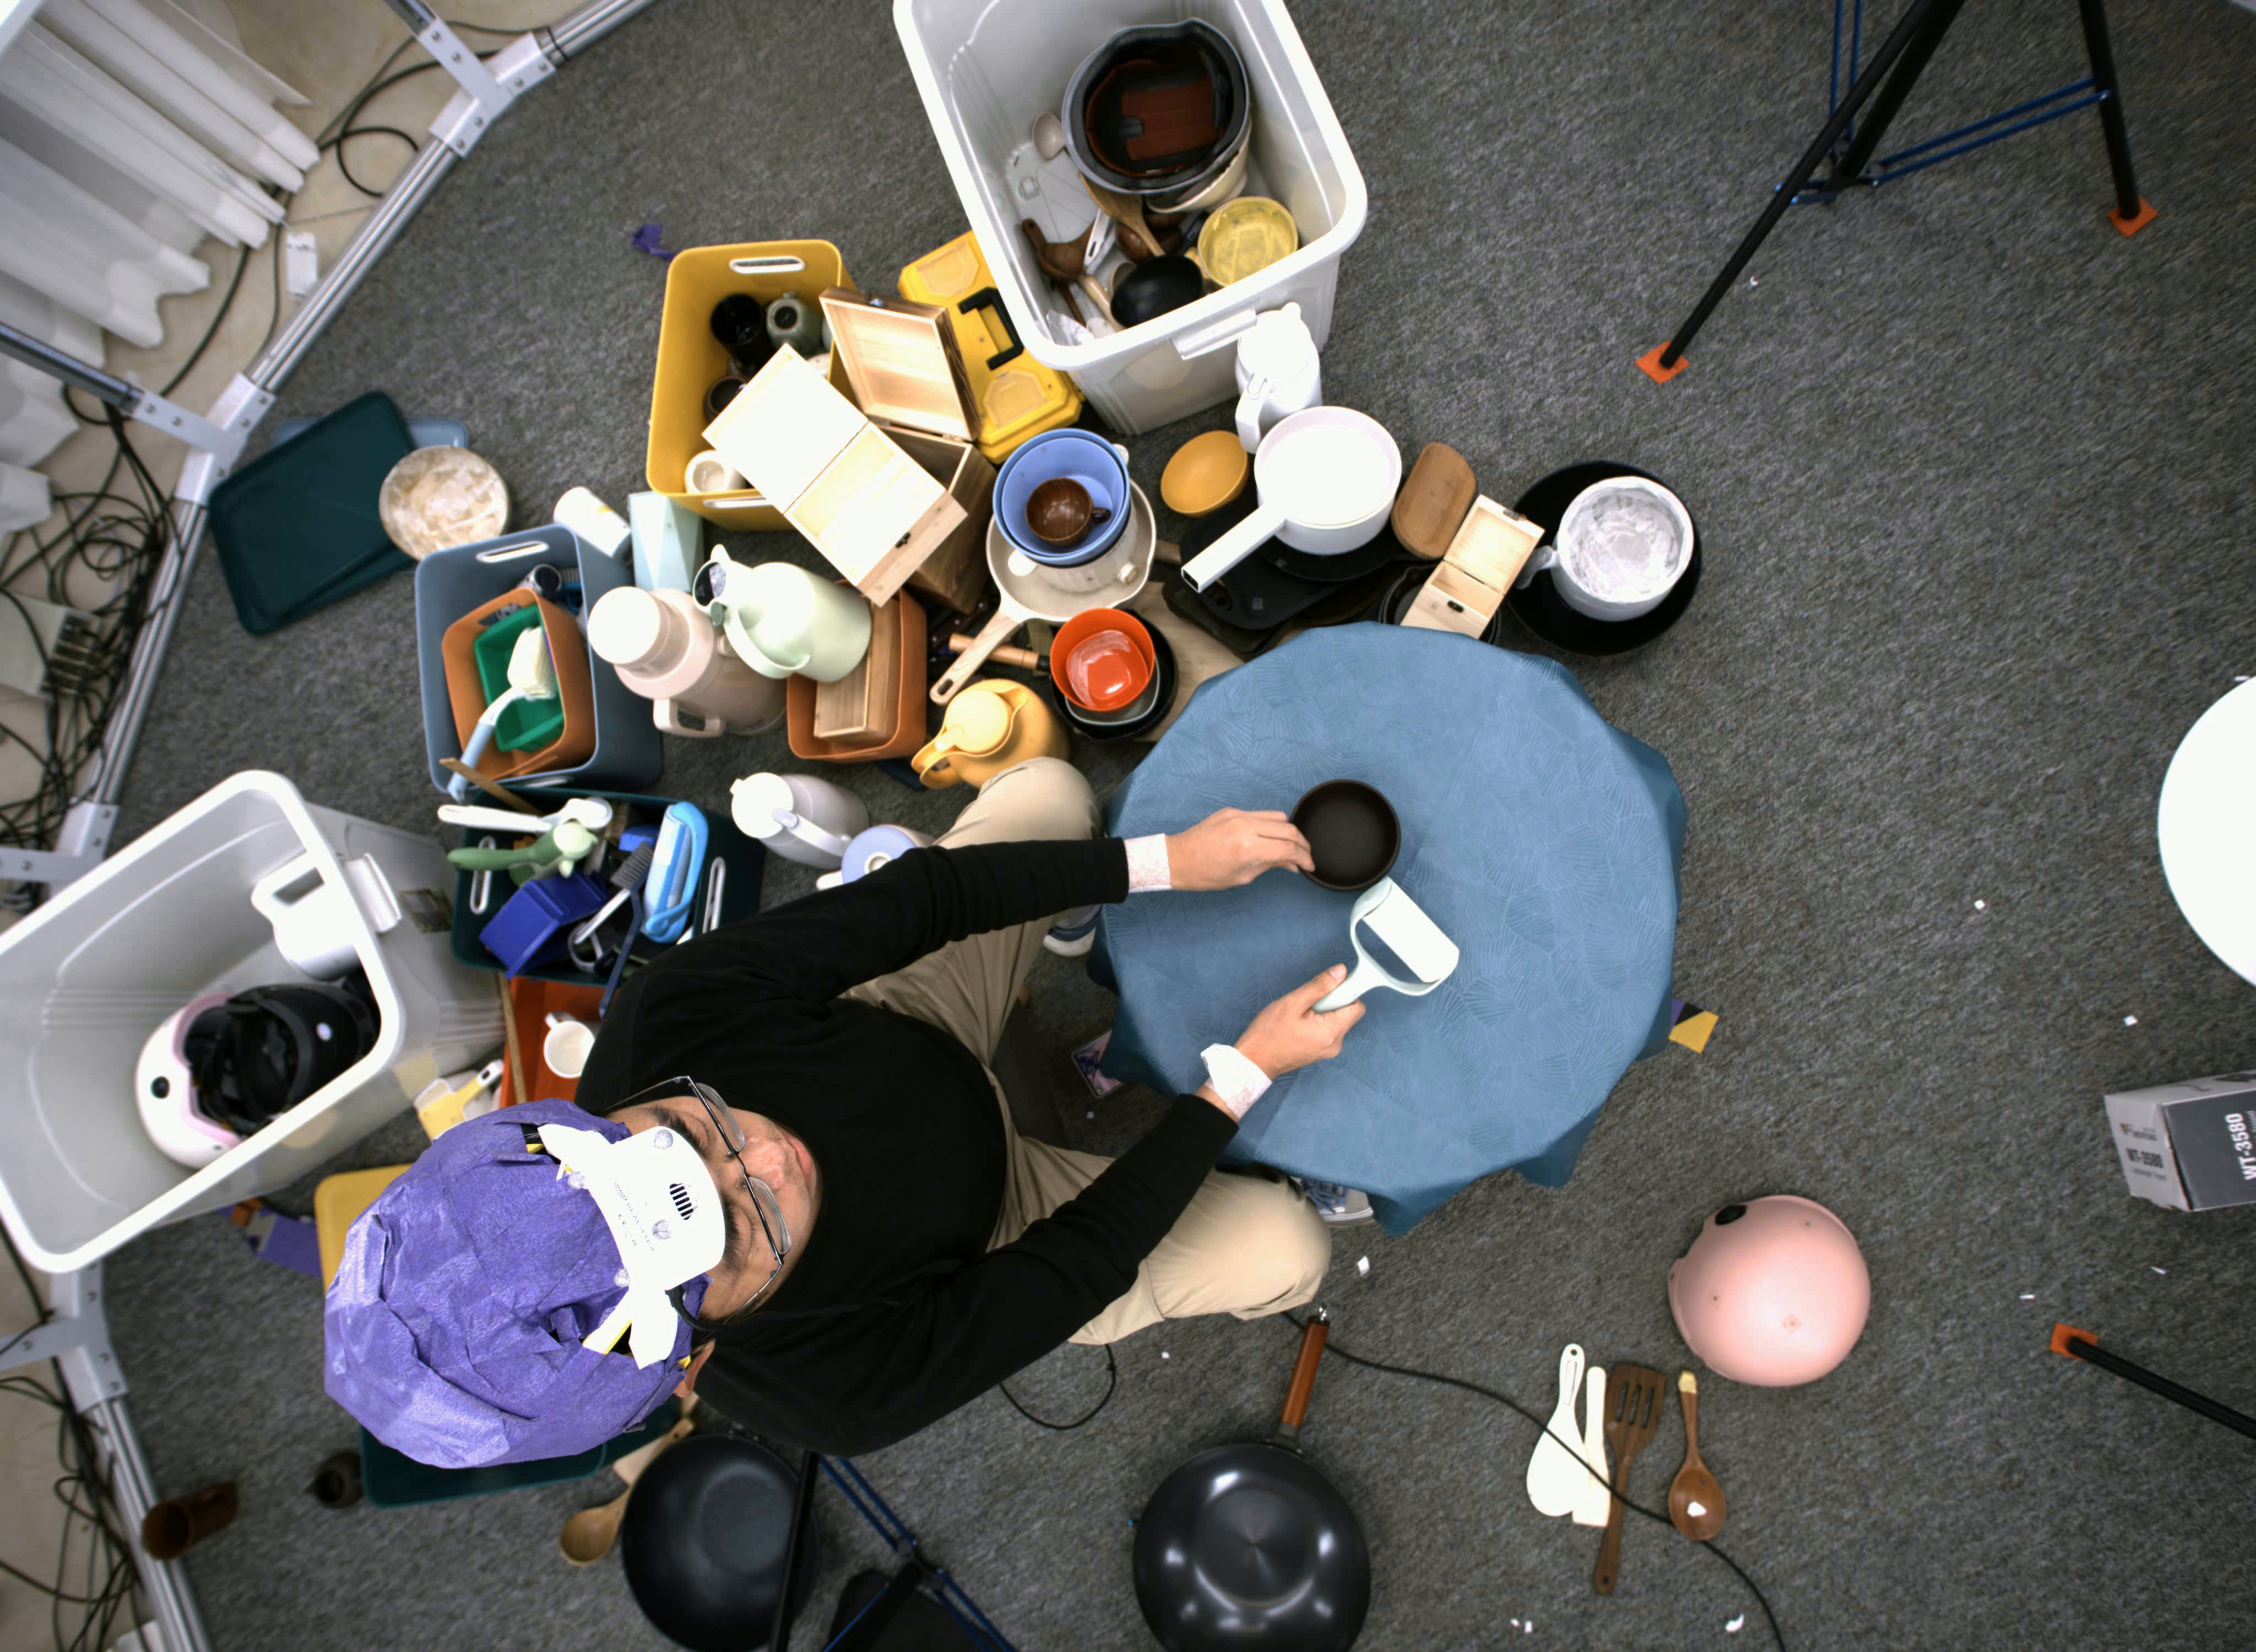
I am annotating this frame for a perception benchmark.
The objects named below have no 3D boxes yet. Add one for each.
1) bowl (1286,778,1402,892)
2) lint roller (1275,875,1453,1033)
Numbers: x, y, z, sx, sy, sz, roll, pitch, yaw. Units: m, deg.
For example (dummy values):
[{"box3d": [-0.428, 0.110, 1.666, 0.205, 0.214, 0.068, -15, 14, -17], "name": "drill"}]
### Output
[{"box3d": [0.224, 0.010, 1.435, 0.118, 0.070, 0.117, -1, 87, 11], "name": "bowl"}, {"box3d": [0.222, 0.146, 1.400, 0.117, 0.047, 0.200, 43, 106, -15], "name": "lint roller"}]
